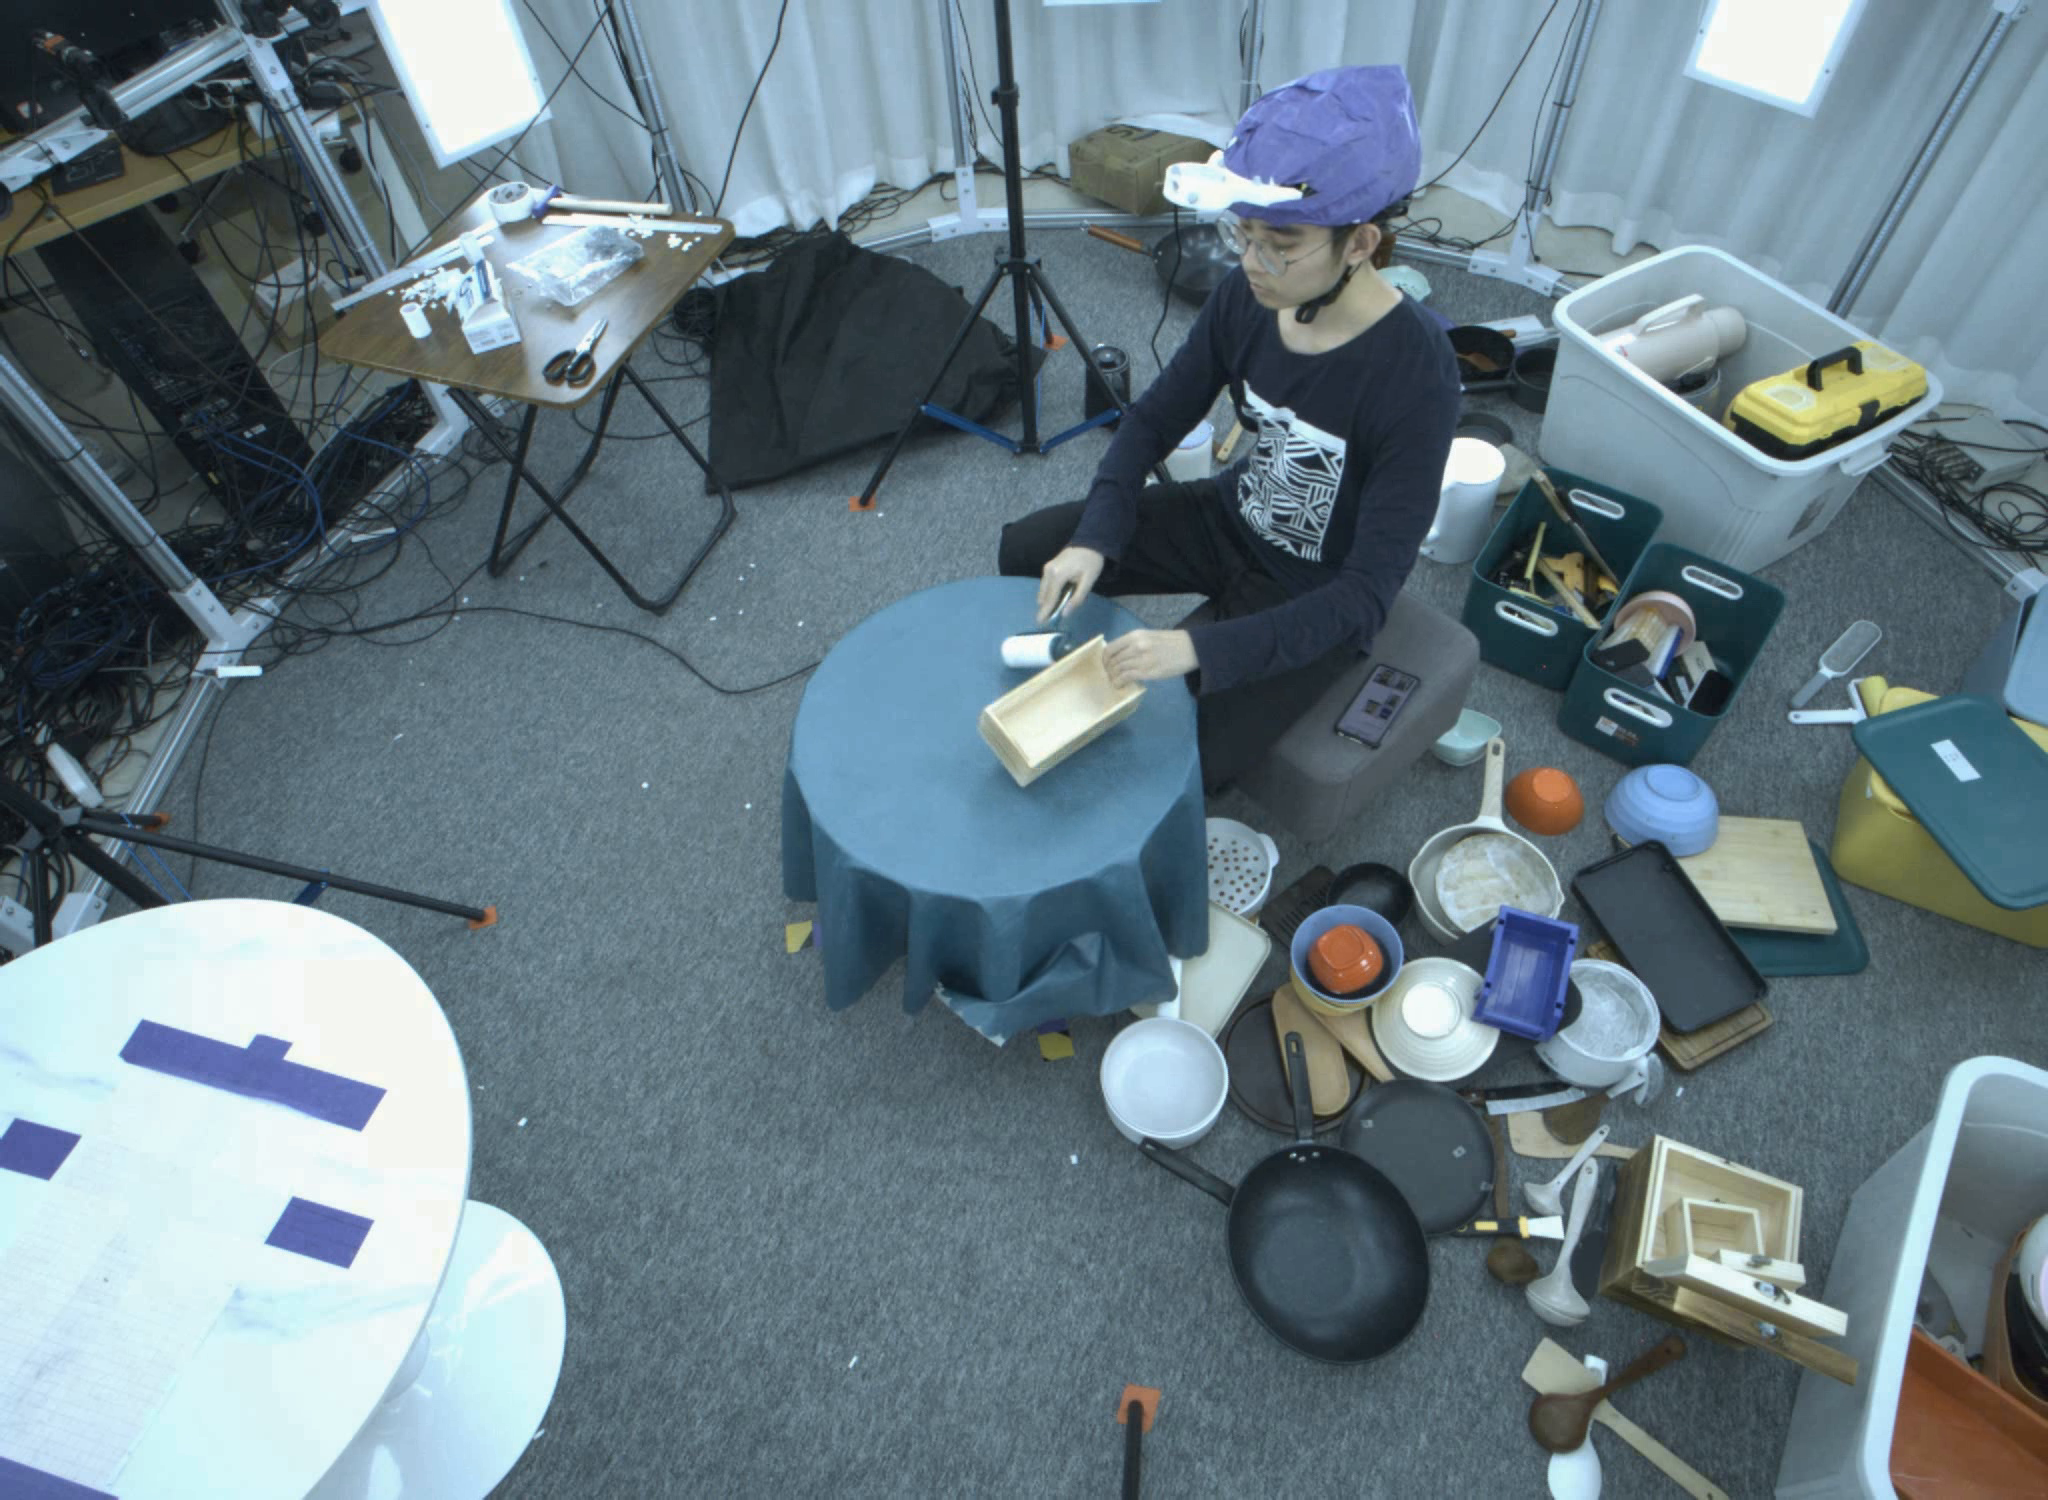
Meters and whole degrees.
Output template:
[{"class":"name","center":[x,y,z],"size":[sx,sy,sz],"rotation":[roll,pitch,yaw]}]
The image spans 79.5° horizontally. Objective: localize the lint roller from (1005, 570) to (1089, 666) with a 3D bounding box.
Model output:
[{"class":"lint roller","center":[0.048,-0.208,1.845],"size":[0.131,0.049,0.180],"rotation":[0,61,46]}]

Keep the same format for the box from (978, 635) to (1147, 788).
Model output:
[{"class":"box","center":[0.054,-0.055,1.732],"size":[0.213,0.080,0.107],"rotation":[-35,79,-23]}]
